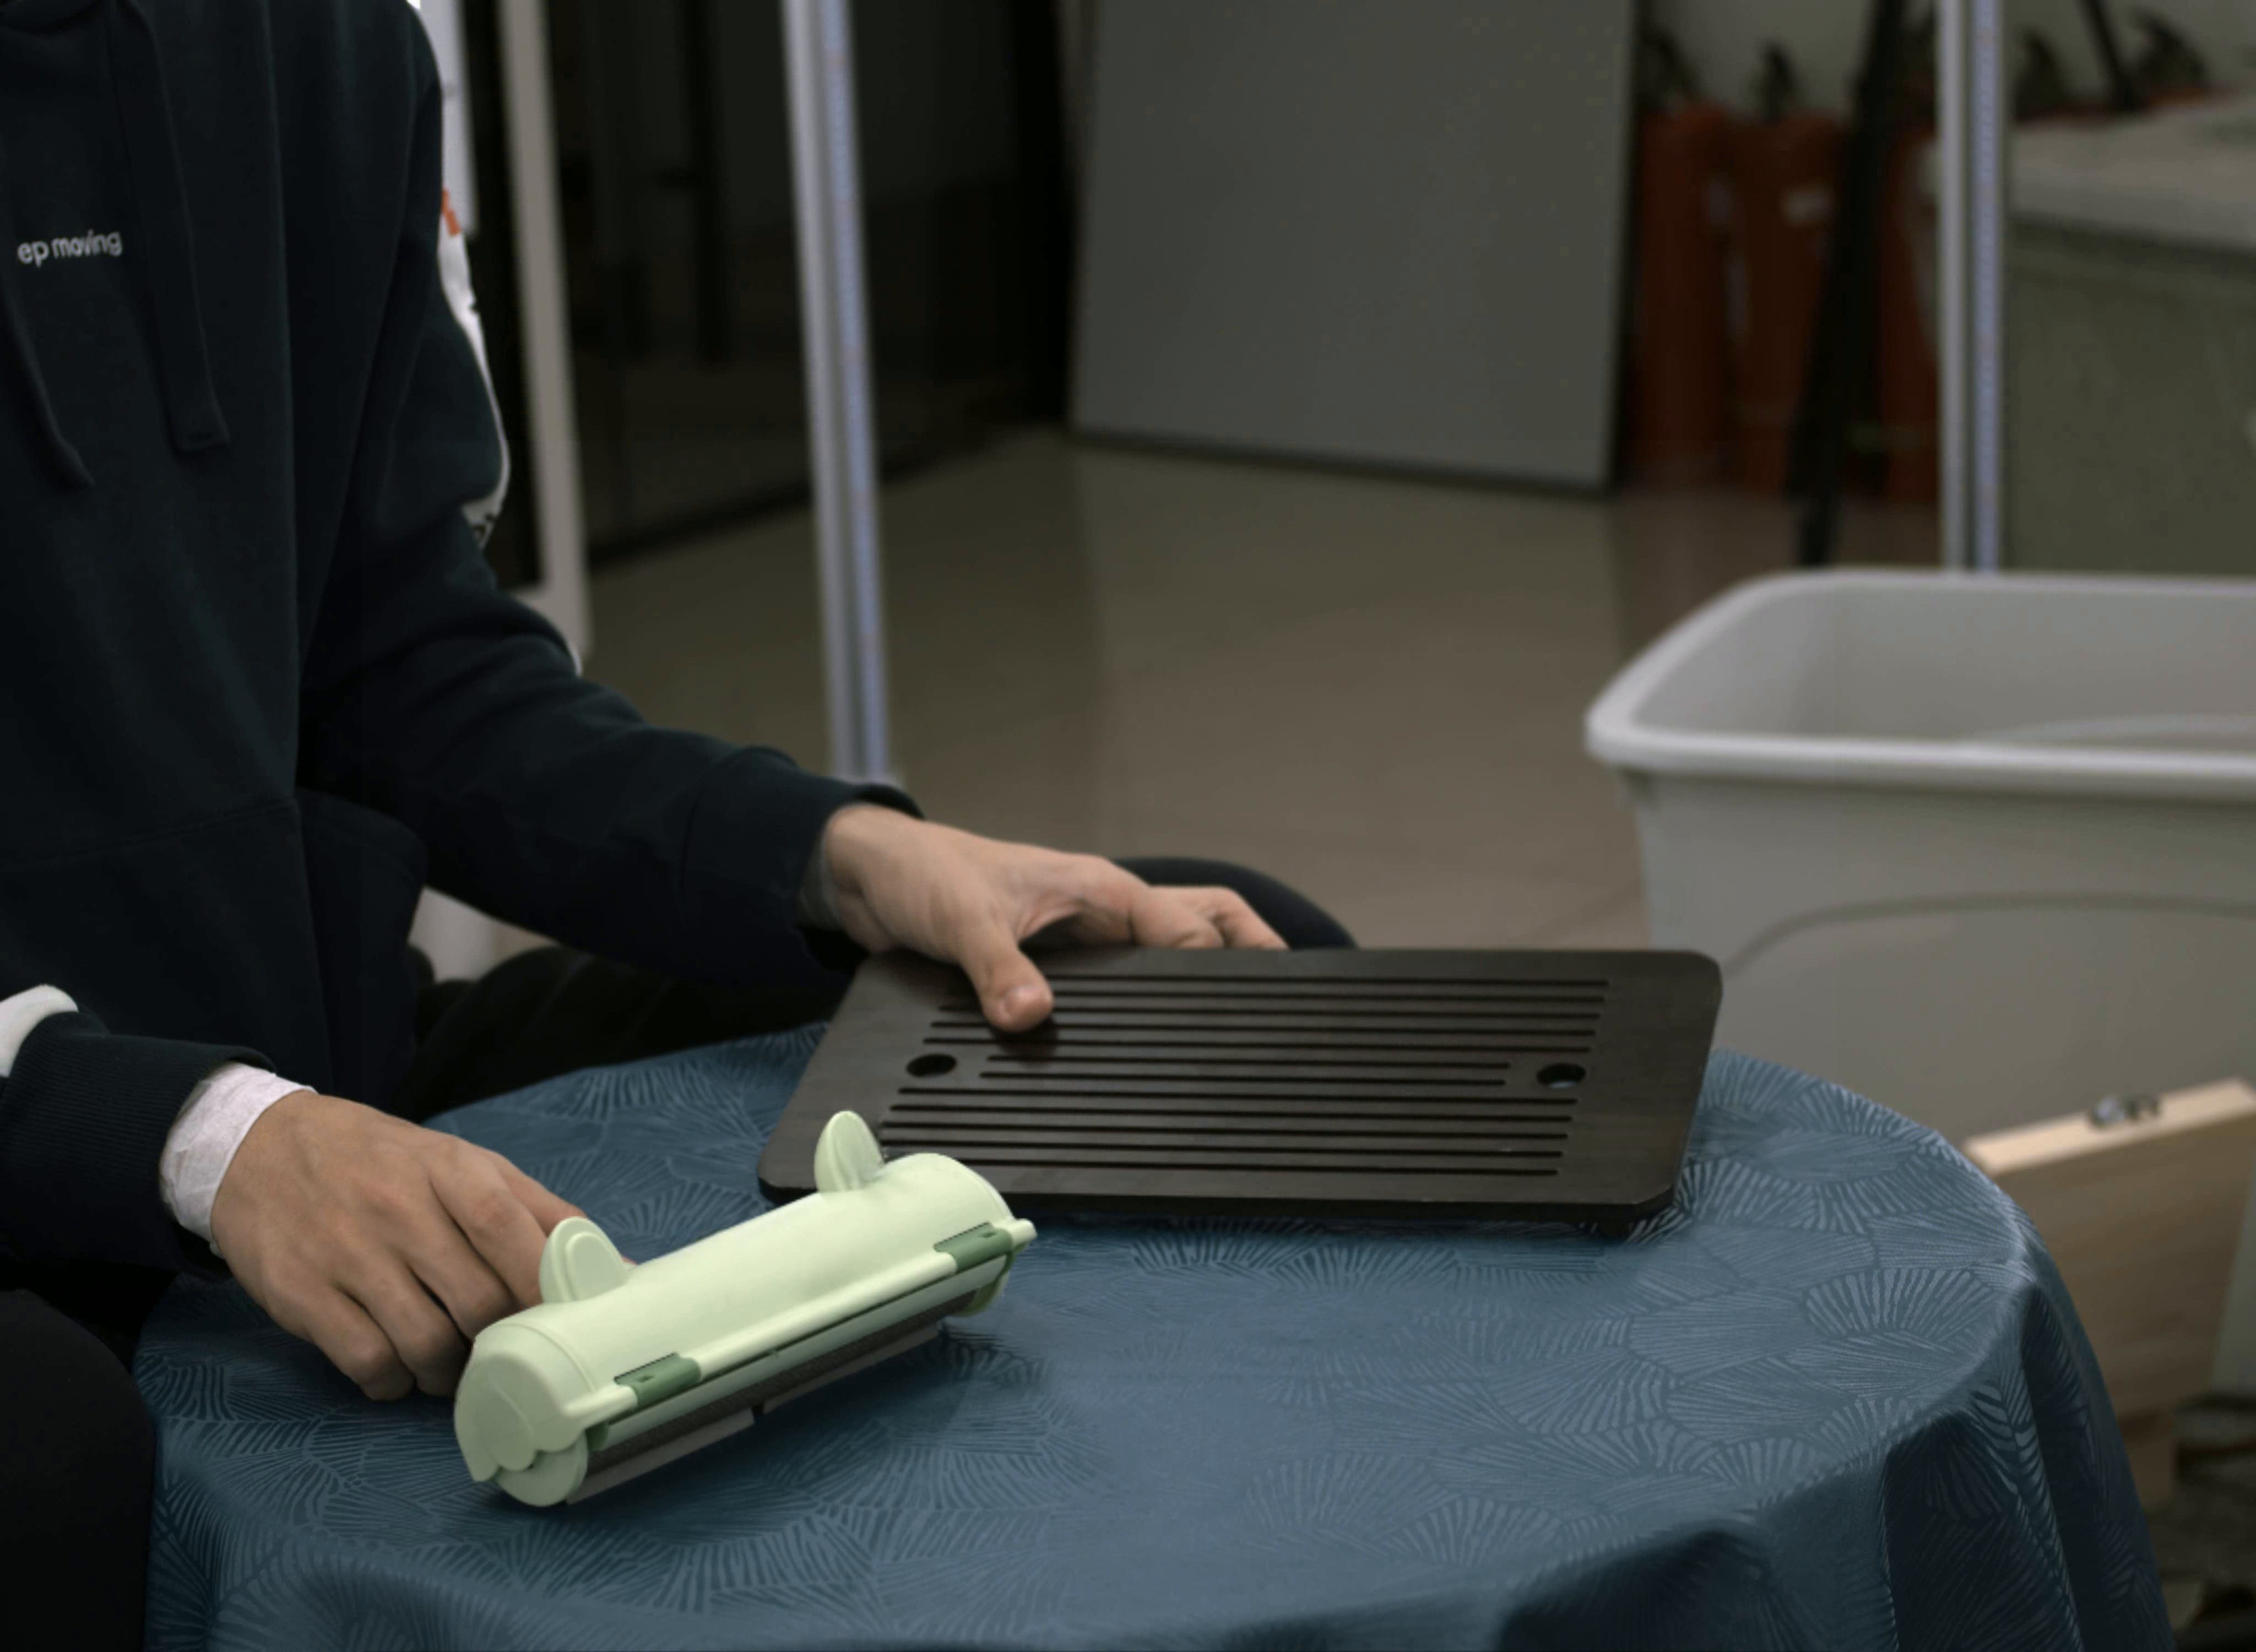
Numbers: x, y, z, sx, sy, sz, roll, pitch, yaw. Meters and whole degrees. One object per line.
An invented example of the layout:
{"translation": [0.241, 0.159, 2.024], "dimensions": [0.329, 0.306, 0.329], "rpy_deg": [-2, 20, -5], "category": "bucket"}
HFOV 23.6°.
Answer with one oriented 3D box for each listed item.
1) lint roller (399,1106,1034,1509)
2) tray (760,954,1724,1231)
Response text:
{"translation": [-0.154, 0.130, 1.614], "dimensions": [0.185, 0.083, 0.195], "rpy_deg": [12, 21, 40], "category": "lint roller"}
{"translation": [0.041, 0.088, 1.795], "dimensions": [0.304, 0.019, 0.169], "rpy_deg": [-1, 26, 15], "category": "tray"}
